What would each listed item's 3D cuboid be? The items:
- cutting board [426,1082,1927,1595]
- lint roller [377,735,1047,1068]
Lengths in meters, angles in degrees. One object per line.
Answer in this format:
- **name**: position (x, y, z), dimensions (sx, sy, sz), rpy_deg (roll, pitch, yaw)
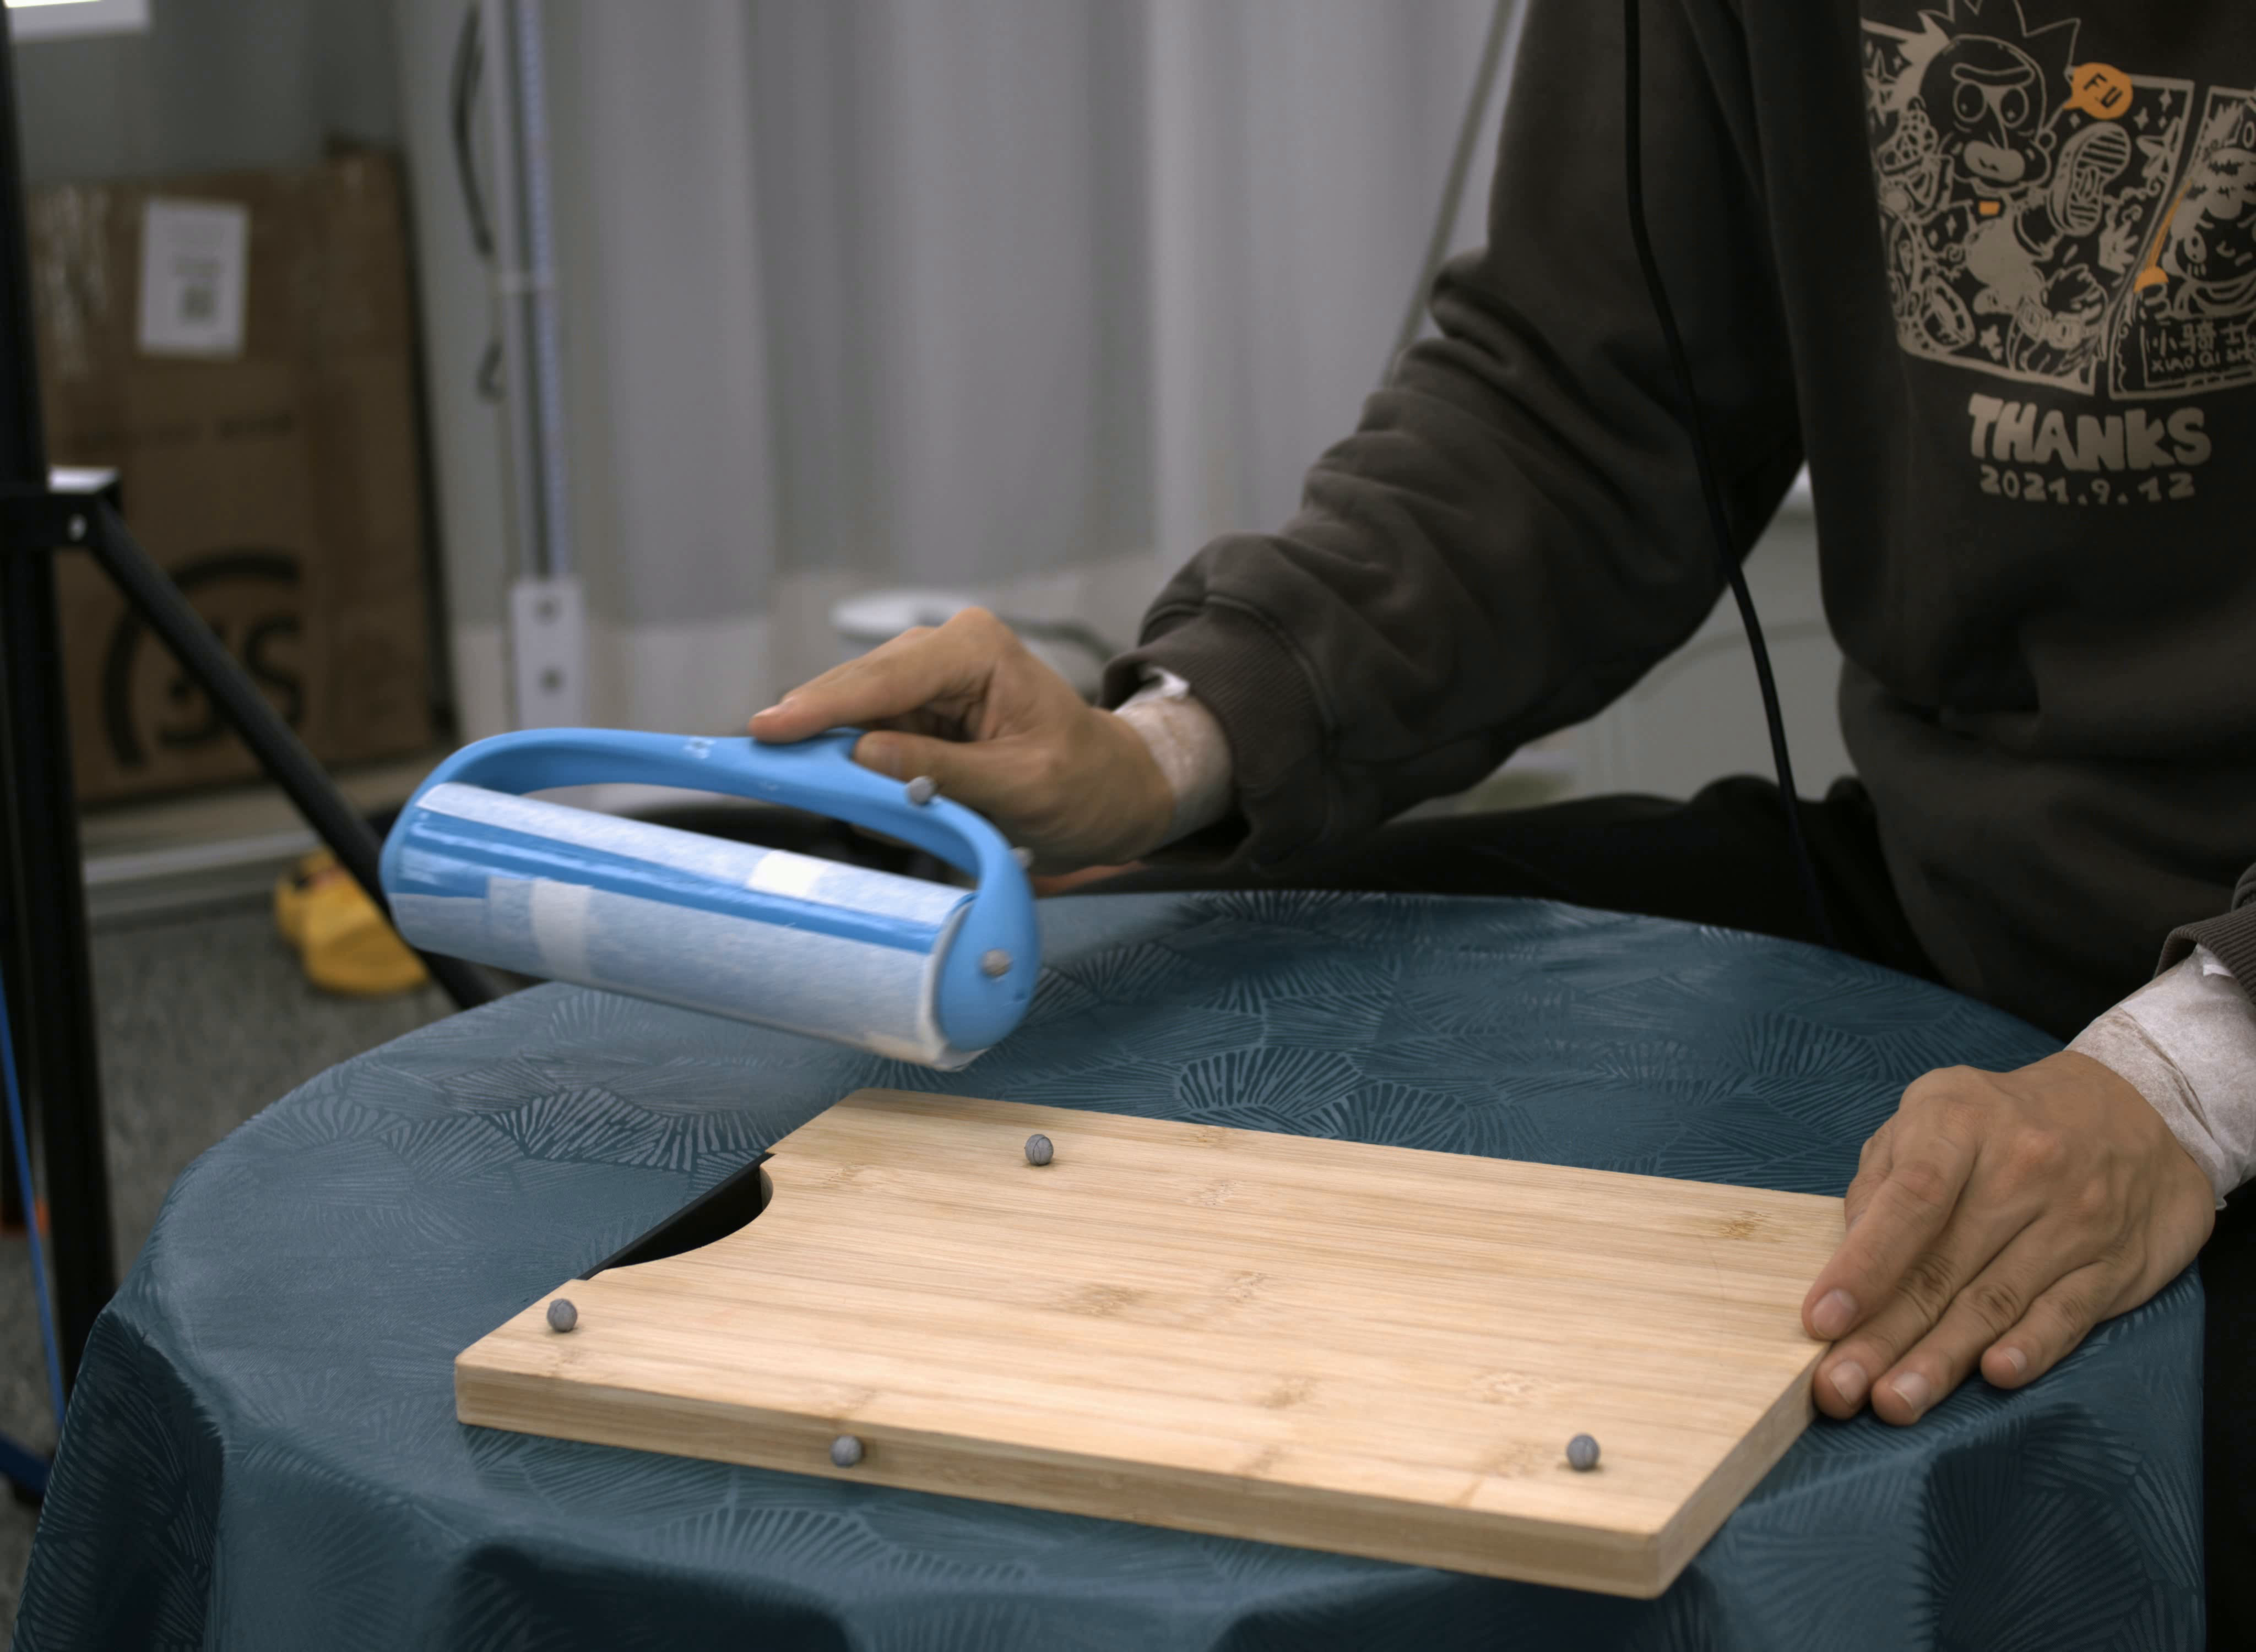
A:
- **cutting board**: position (0.018, 0.133, 1.443), dimensions (0.354, 0.023, 0.247), rpy_deg (5, 17, 25)
- **lint roller**: position (-0.105, 0.004, 1.671), dimensions (0.232, 0.067, 0.178), rpy_deg (8, 29, 25)
